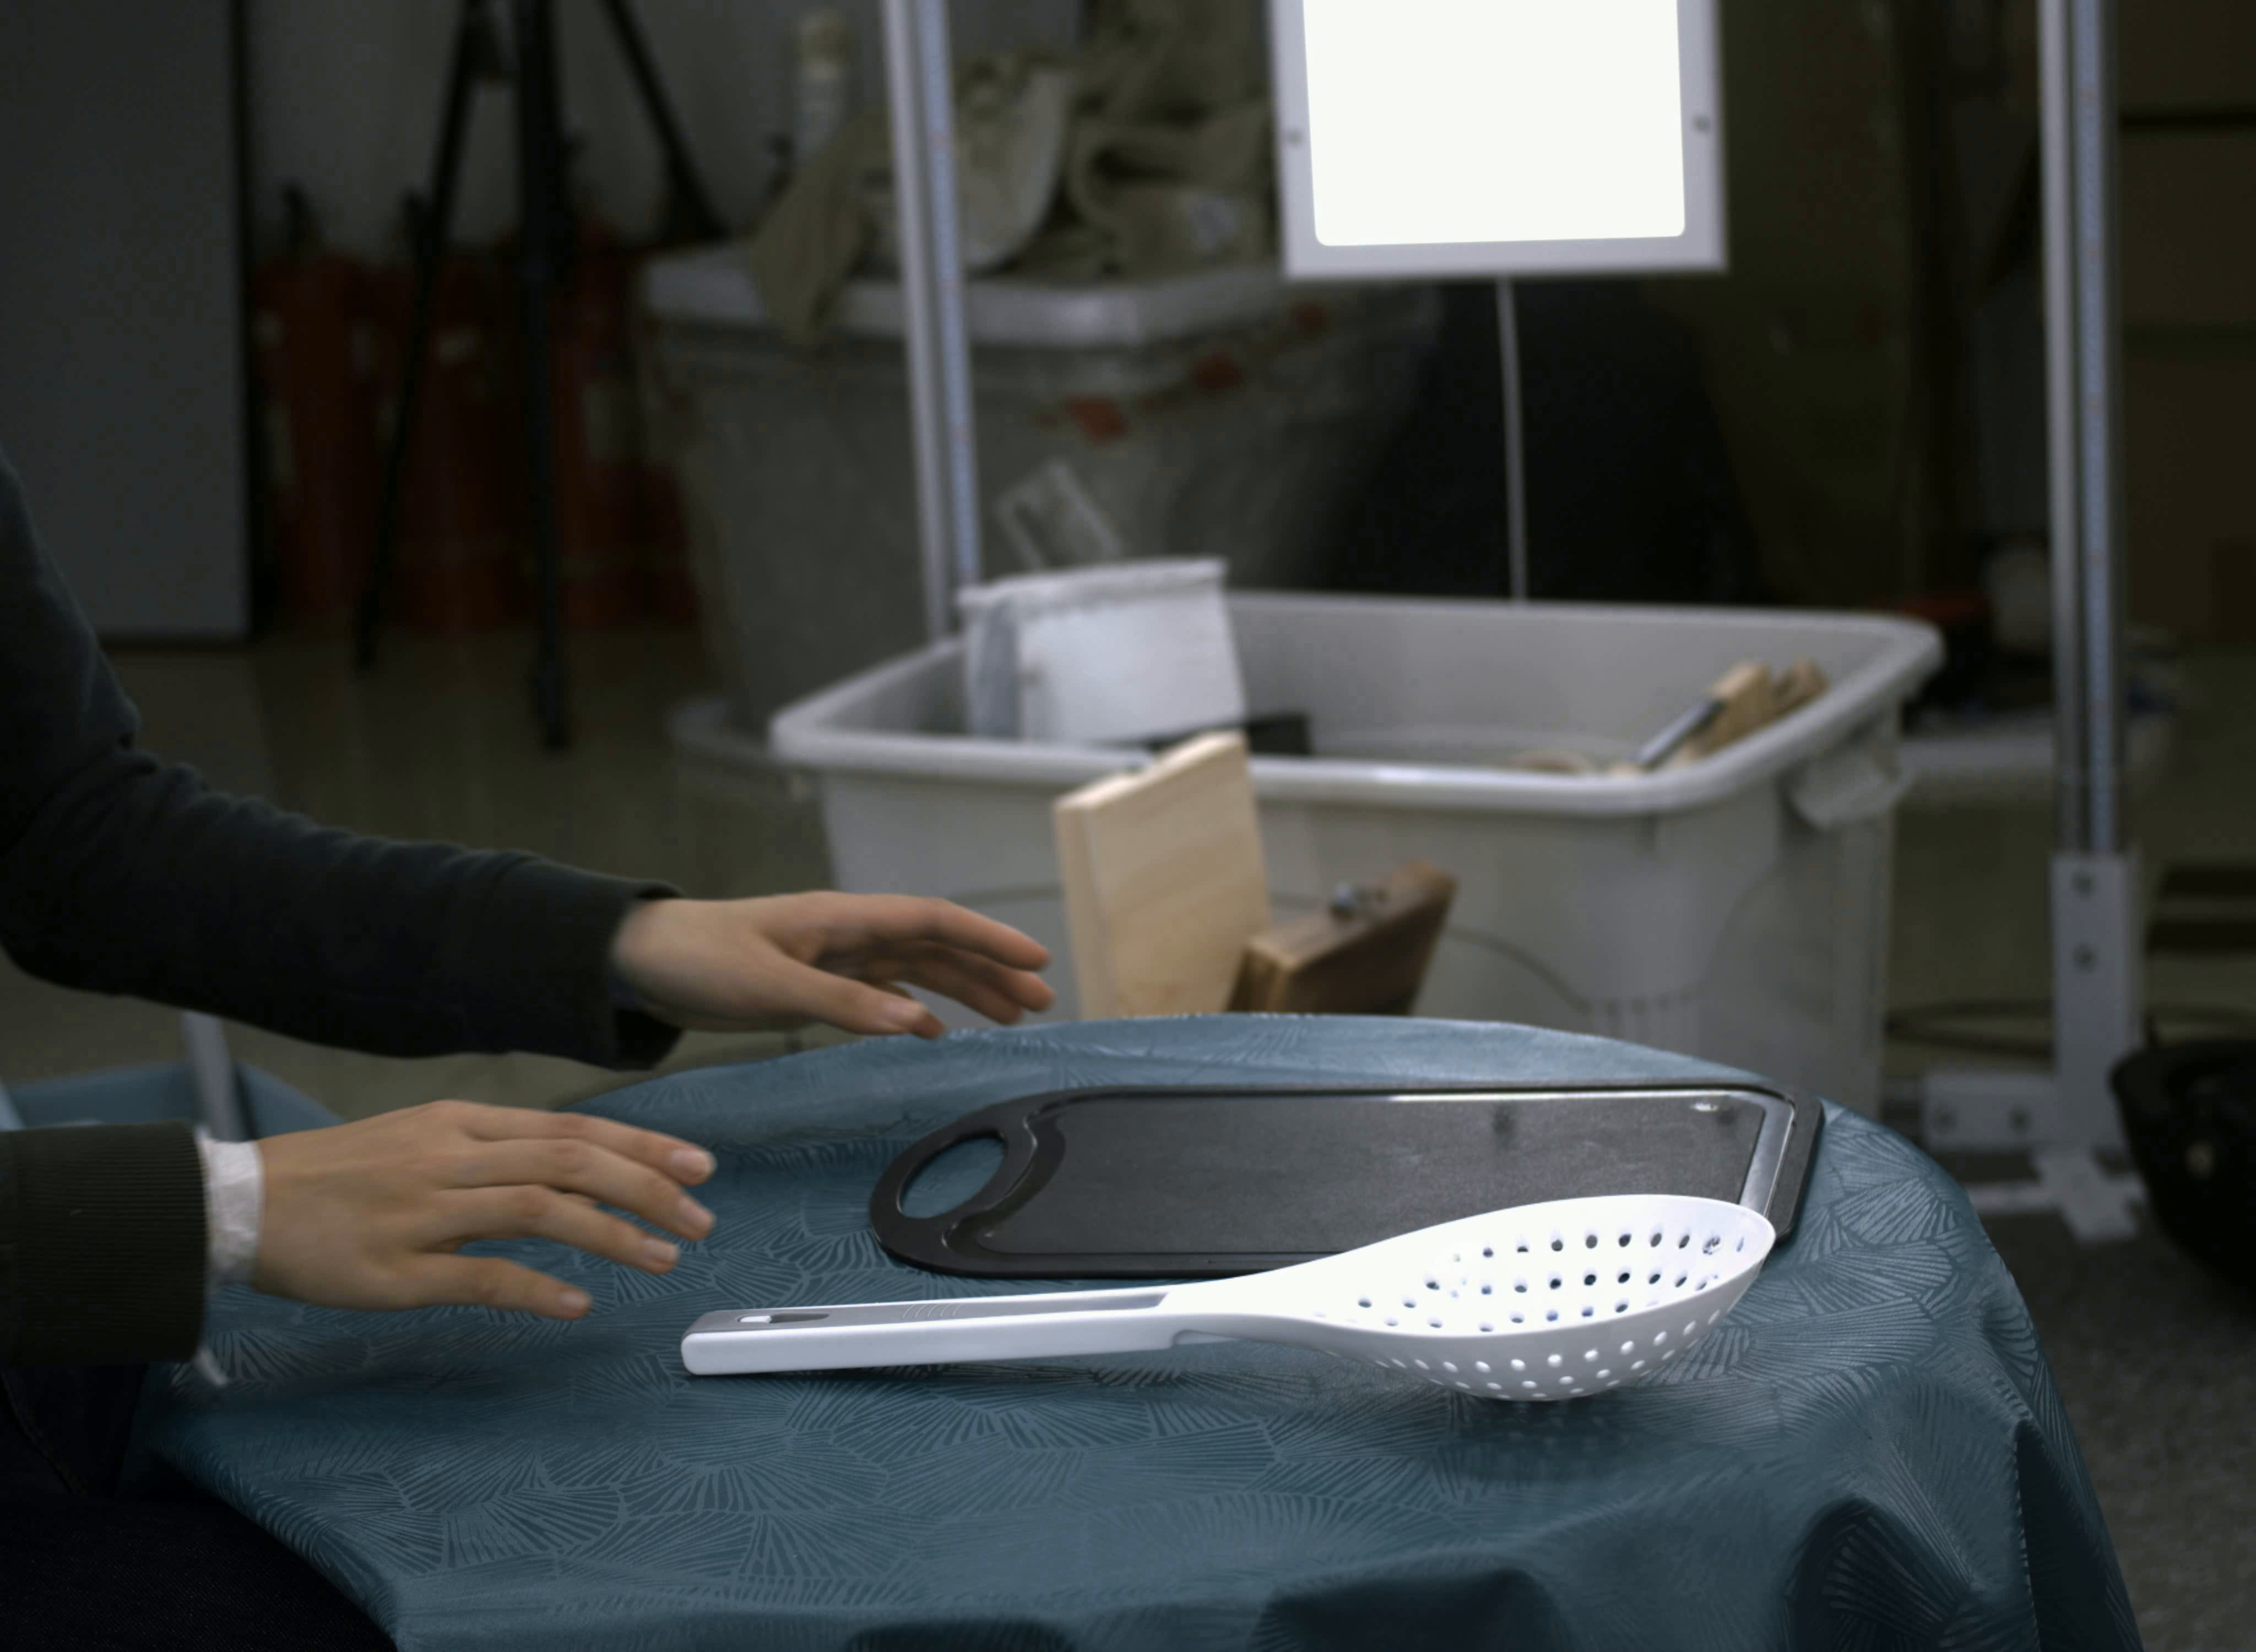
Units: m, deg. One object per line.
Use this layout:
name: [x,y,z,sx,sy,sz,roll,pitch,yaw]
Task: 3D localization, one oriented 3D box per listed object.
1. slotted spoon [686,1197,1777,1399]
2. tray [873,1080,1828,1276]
slotted spoon: [0.028,0.149,1.699,0.354,0.046,0.134,-1,12,19]
tray: [0.074,0.118,1.890,0.328,0.010,0.208,-2,14,14]
